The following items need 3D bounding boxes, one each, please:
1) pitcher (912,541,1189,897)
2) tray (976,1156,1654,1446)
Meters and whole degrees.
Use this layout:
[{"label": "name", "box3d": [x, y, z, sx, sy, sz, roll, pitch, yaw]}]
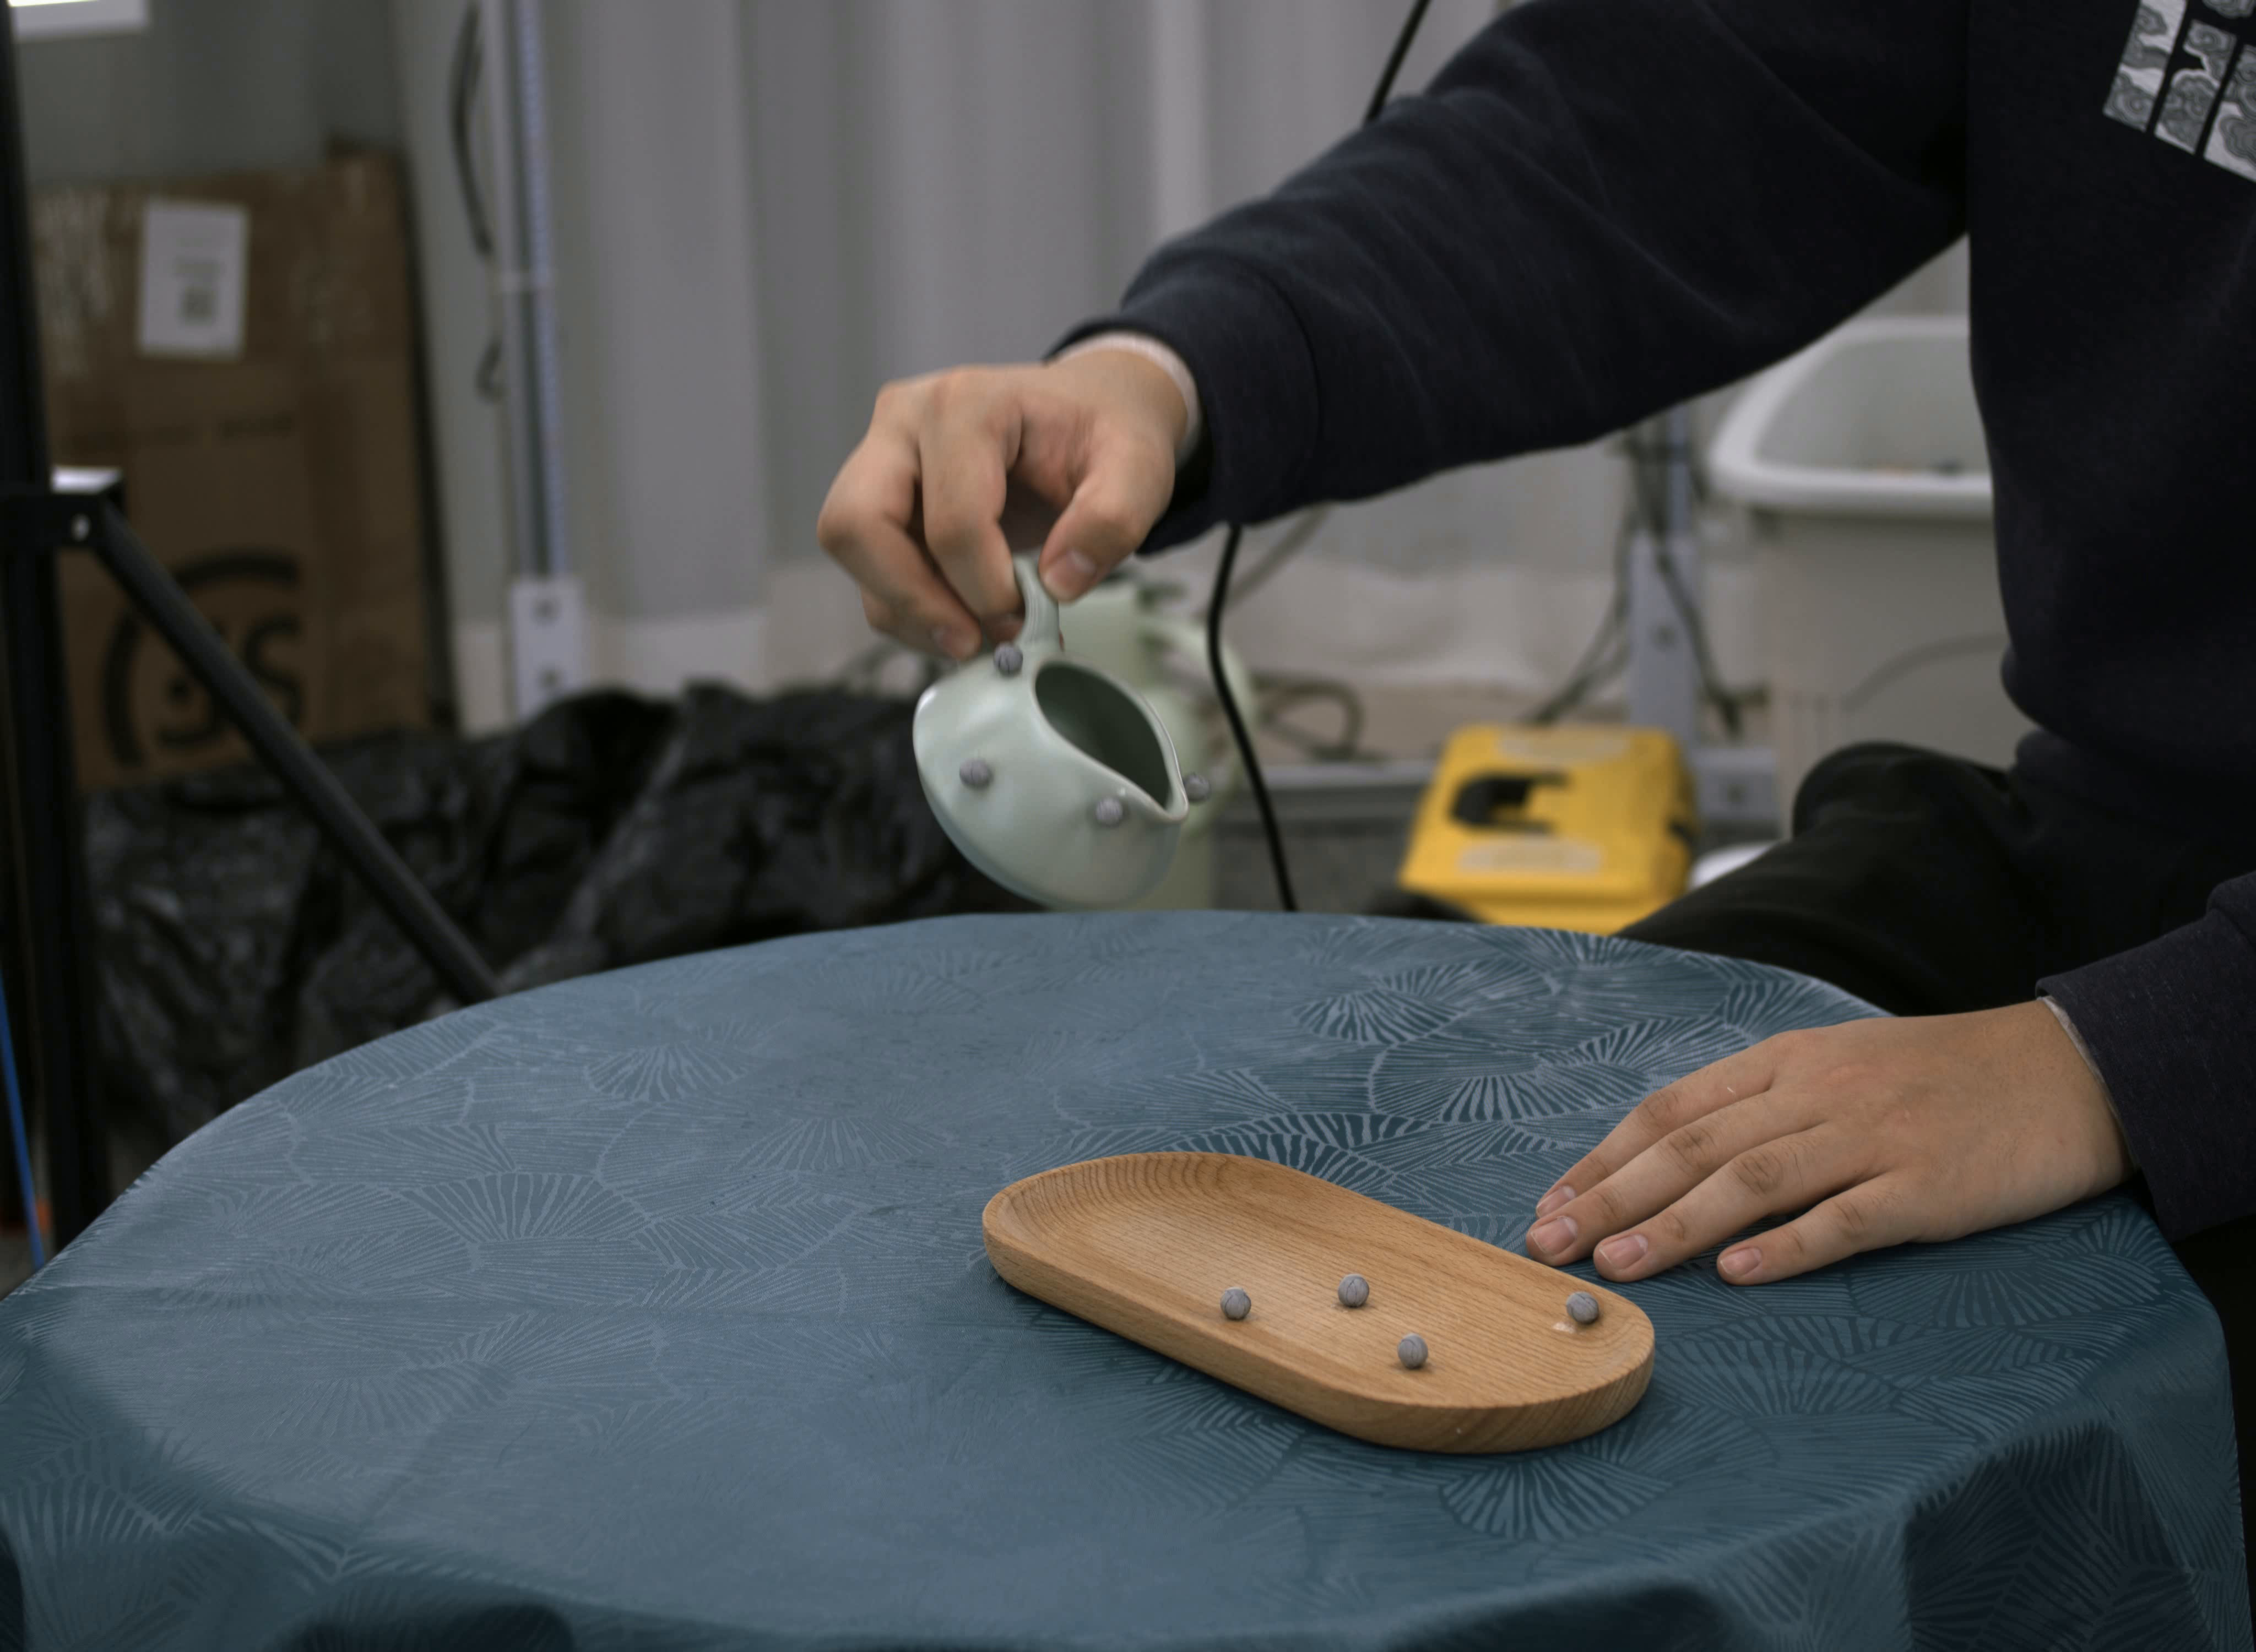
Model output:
[{"label": "pitcher", "box3d": [-0.026, -0.029, 1.520, 0.084, 0.061, 0.110, -3, 52, -48]}, {"label": "tray", "box3d": [0.049, 0.128, 1.450, 0.099, 0.020, 0.236, -12, 16, -35]}]
